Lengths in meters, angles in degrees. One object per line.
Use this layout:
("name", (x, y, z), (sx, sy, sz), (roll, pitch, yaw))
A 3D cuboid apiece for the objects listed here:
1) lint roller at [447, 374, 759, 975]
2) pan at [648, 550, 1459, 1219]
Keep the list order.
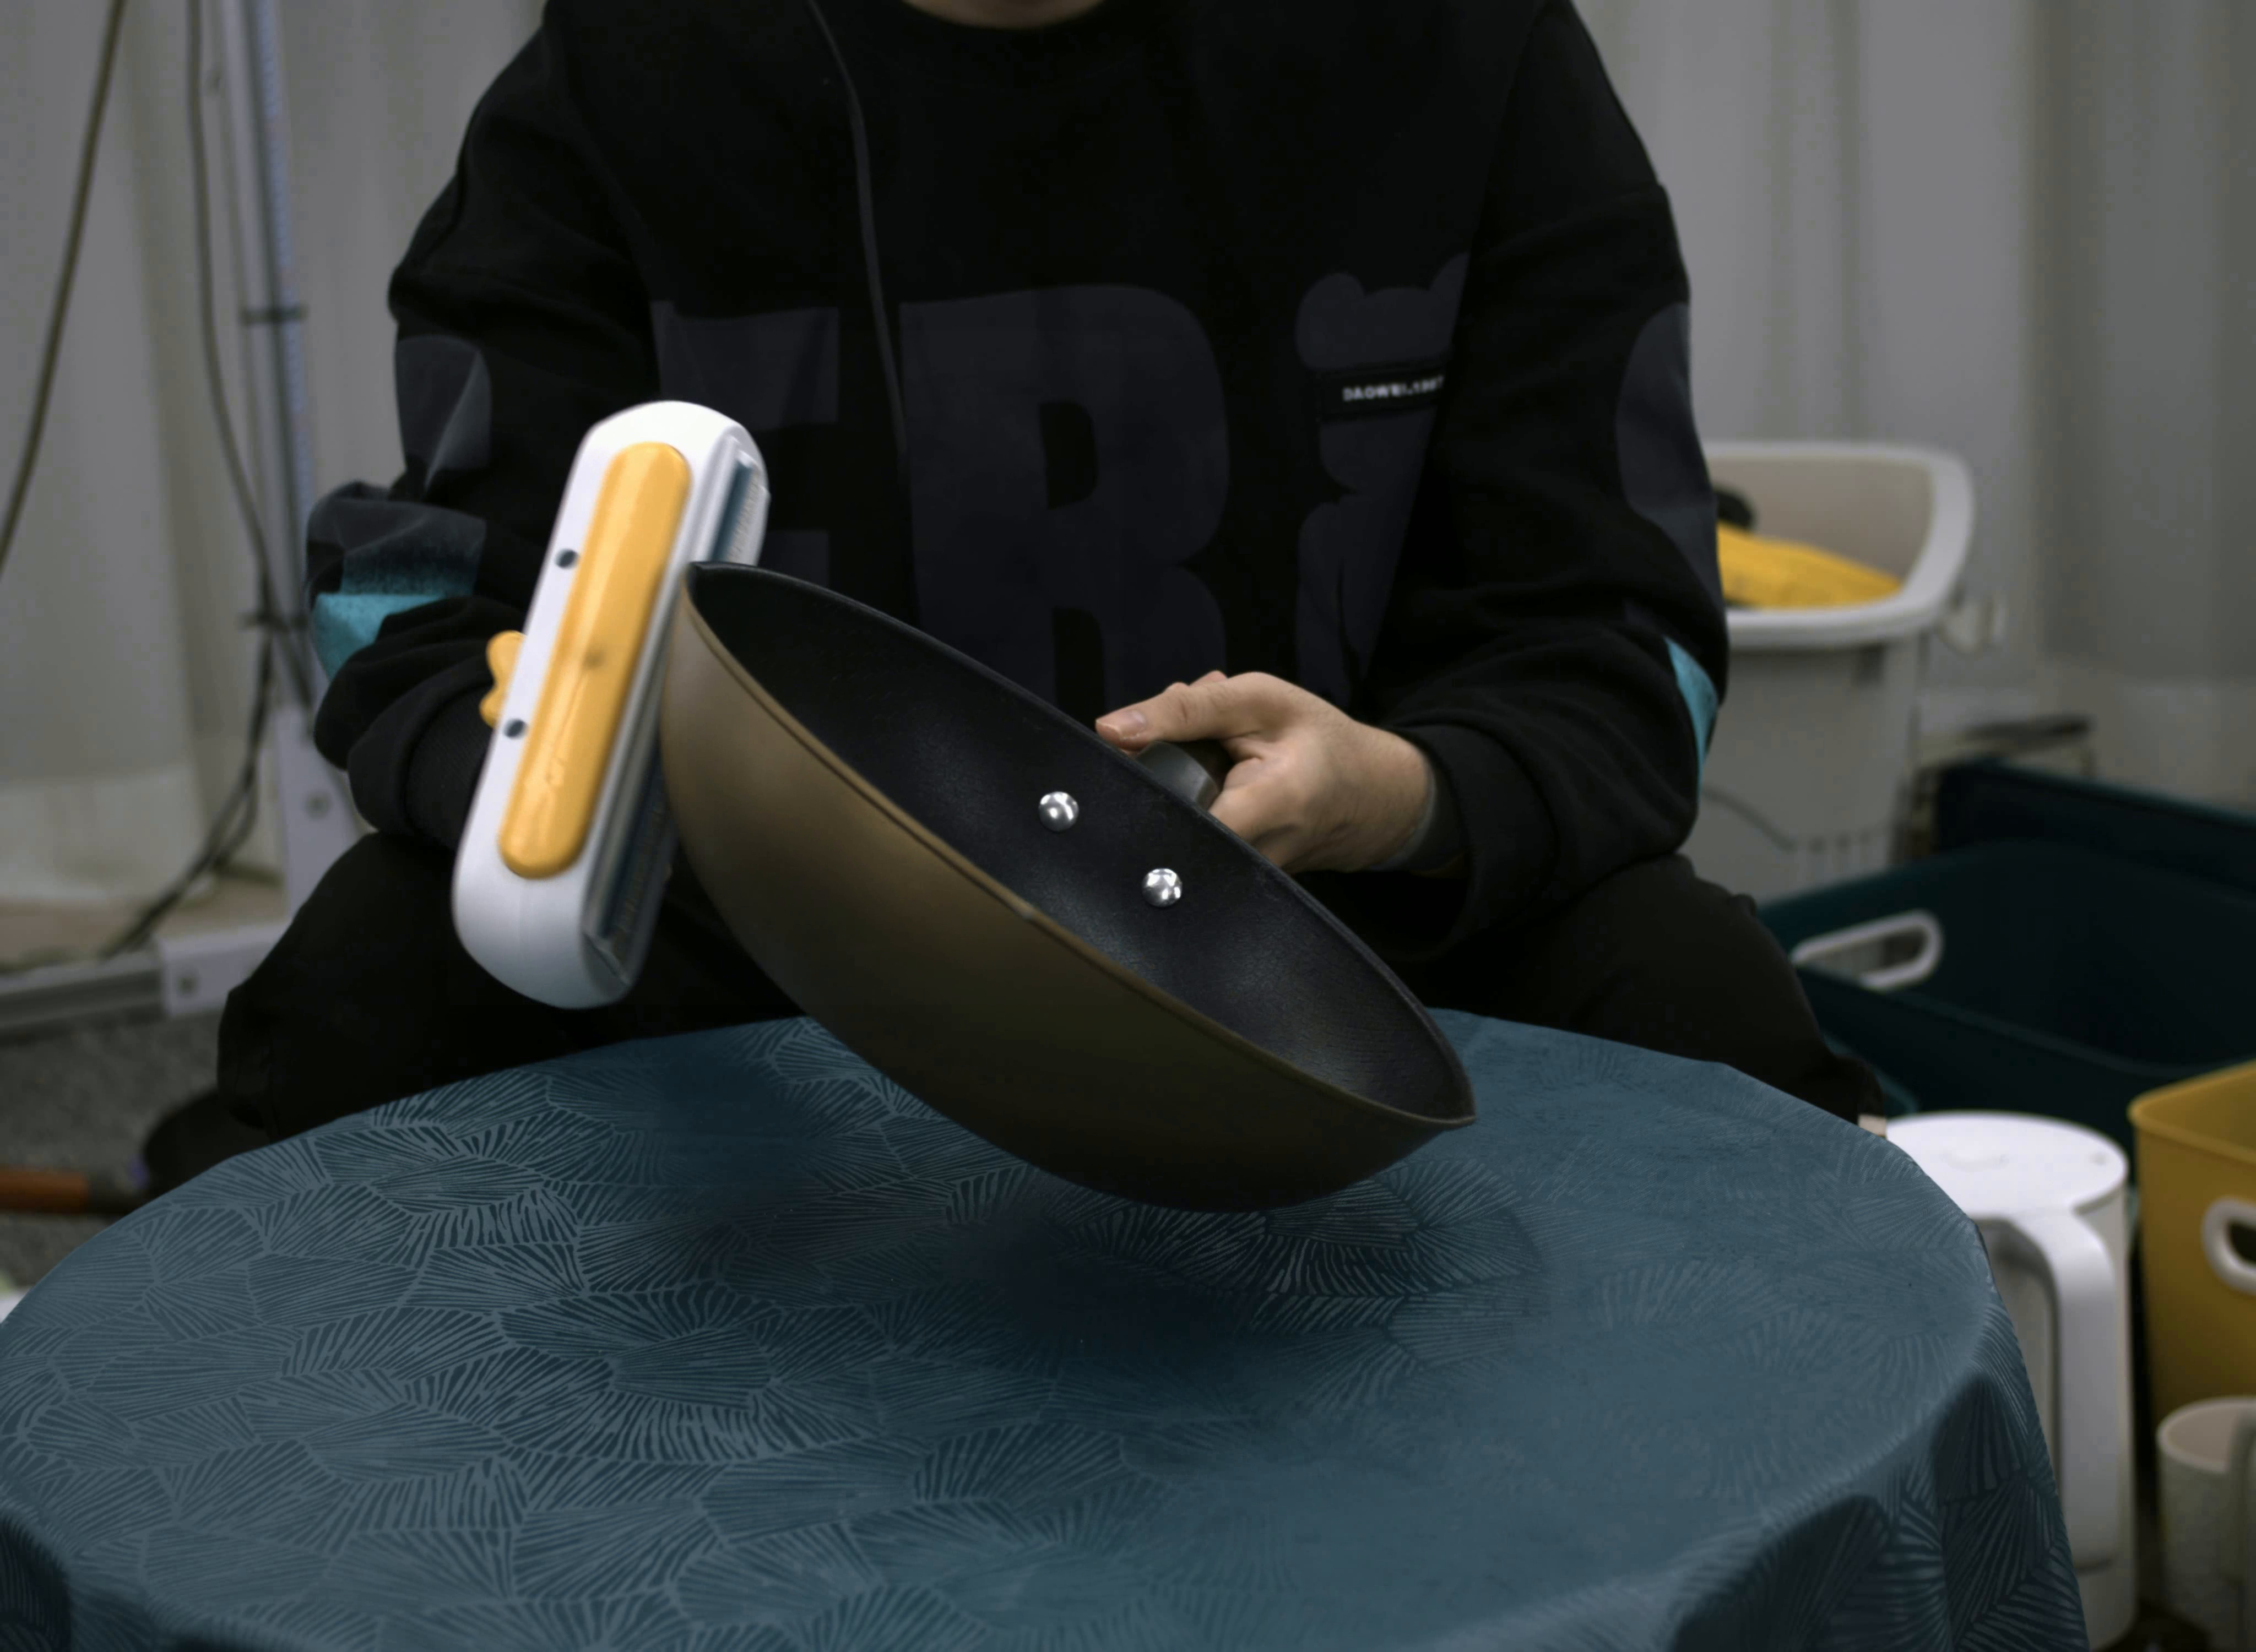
("lint roller", (-0.162, -0.022, 1.722), (0.074, 0.195, 0.190), (6, -26, 7))
("pan", (-0.022, 0.021, 1.721), (0.288, 0.086, 0.464), (36, 11, 5))
